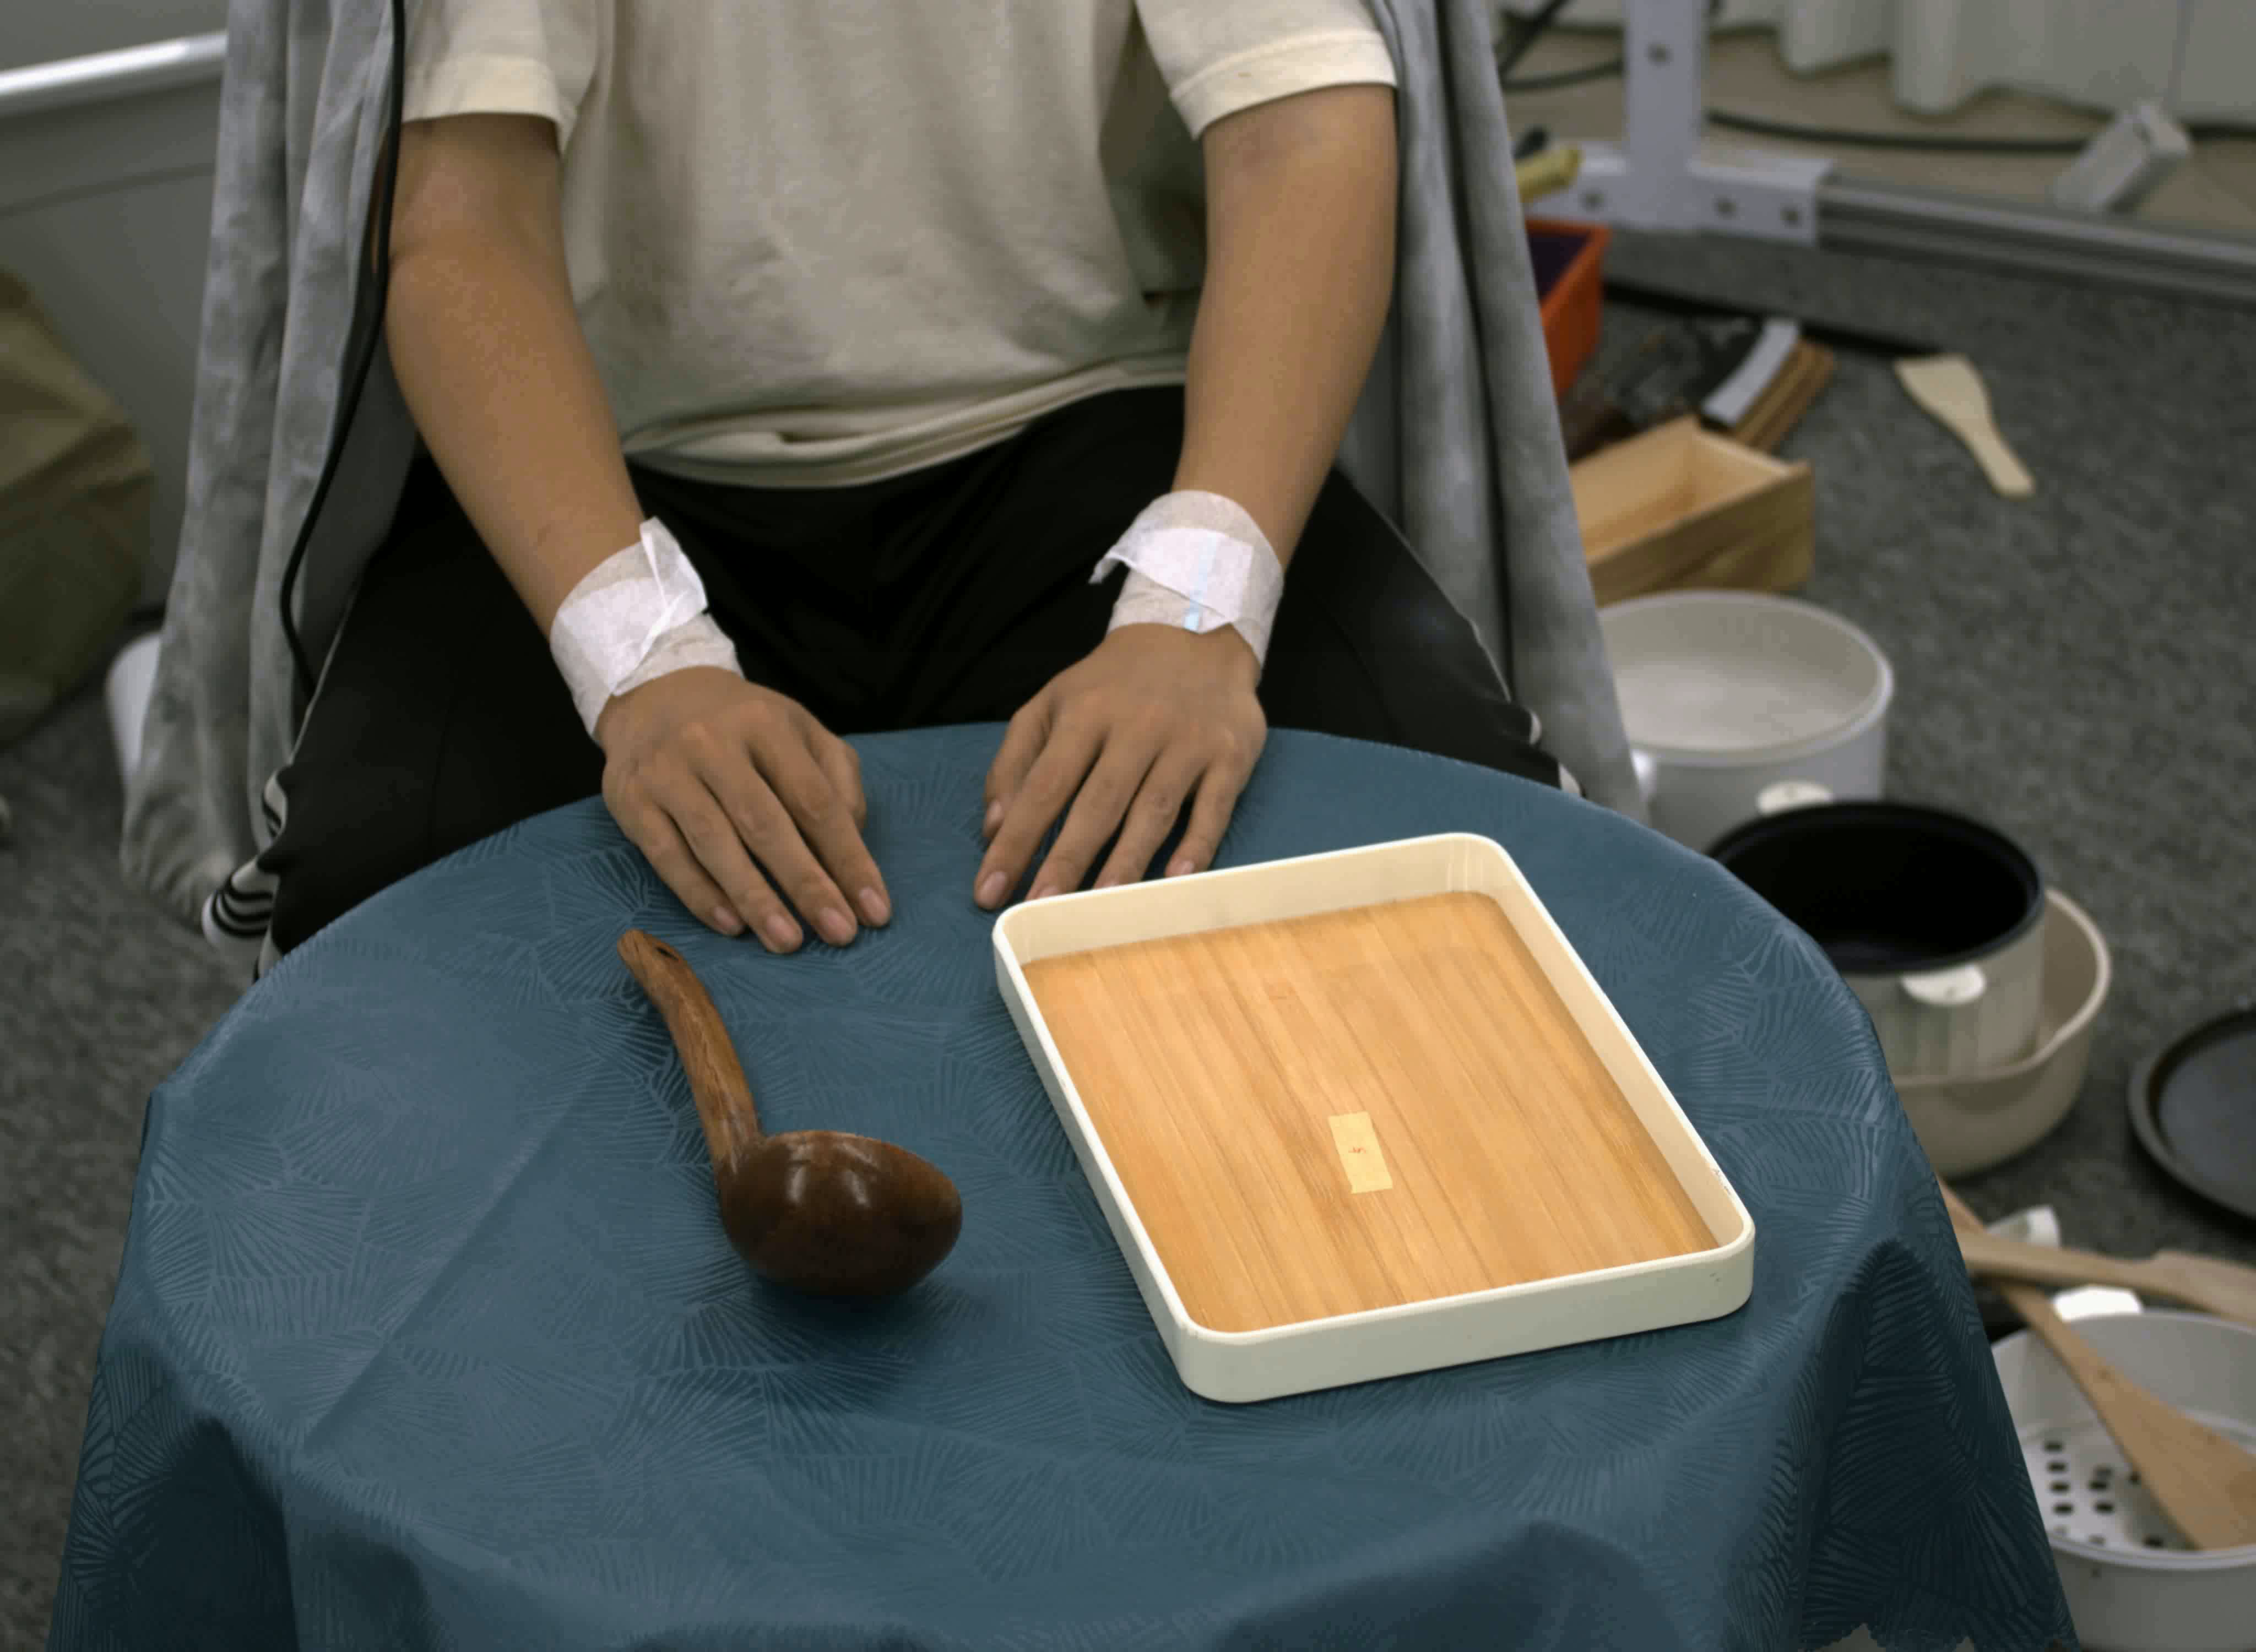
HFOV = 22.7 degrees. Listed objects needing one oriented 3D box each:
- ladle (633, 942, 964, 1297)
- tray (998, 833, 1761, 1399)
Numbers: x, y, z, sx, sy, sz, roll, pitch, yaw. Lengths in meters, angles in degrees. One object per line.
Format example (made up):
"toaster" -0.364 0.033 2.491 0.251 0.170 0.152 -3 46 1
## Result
"ladle" -0.120 0.078 1.880 0.081 0.076 0.277 30 15 -25
"tray" 0.077 0.091 1.881 0.191 0.027 0.303 -9 28 -11
